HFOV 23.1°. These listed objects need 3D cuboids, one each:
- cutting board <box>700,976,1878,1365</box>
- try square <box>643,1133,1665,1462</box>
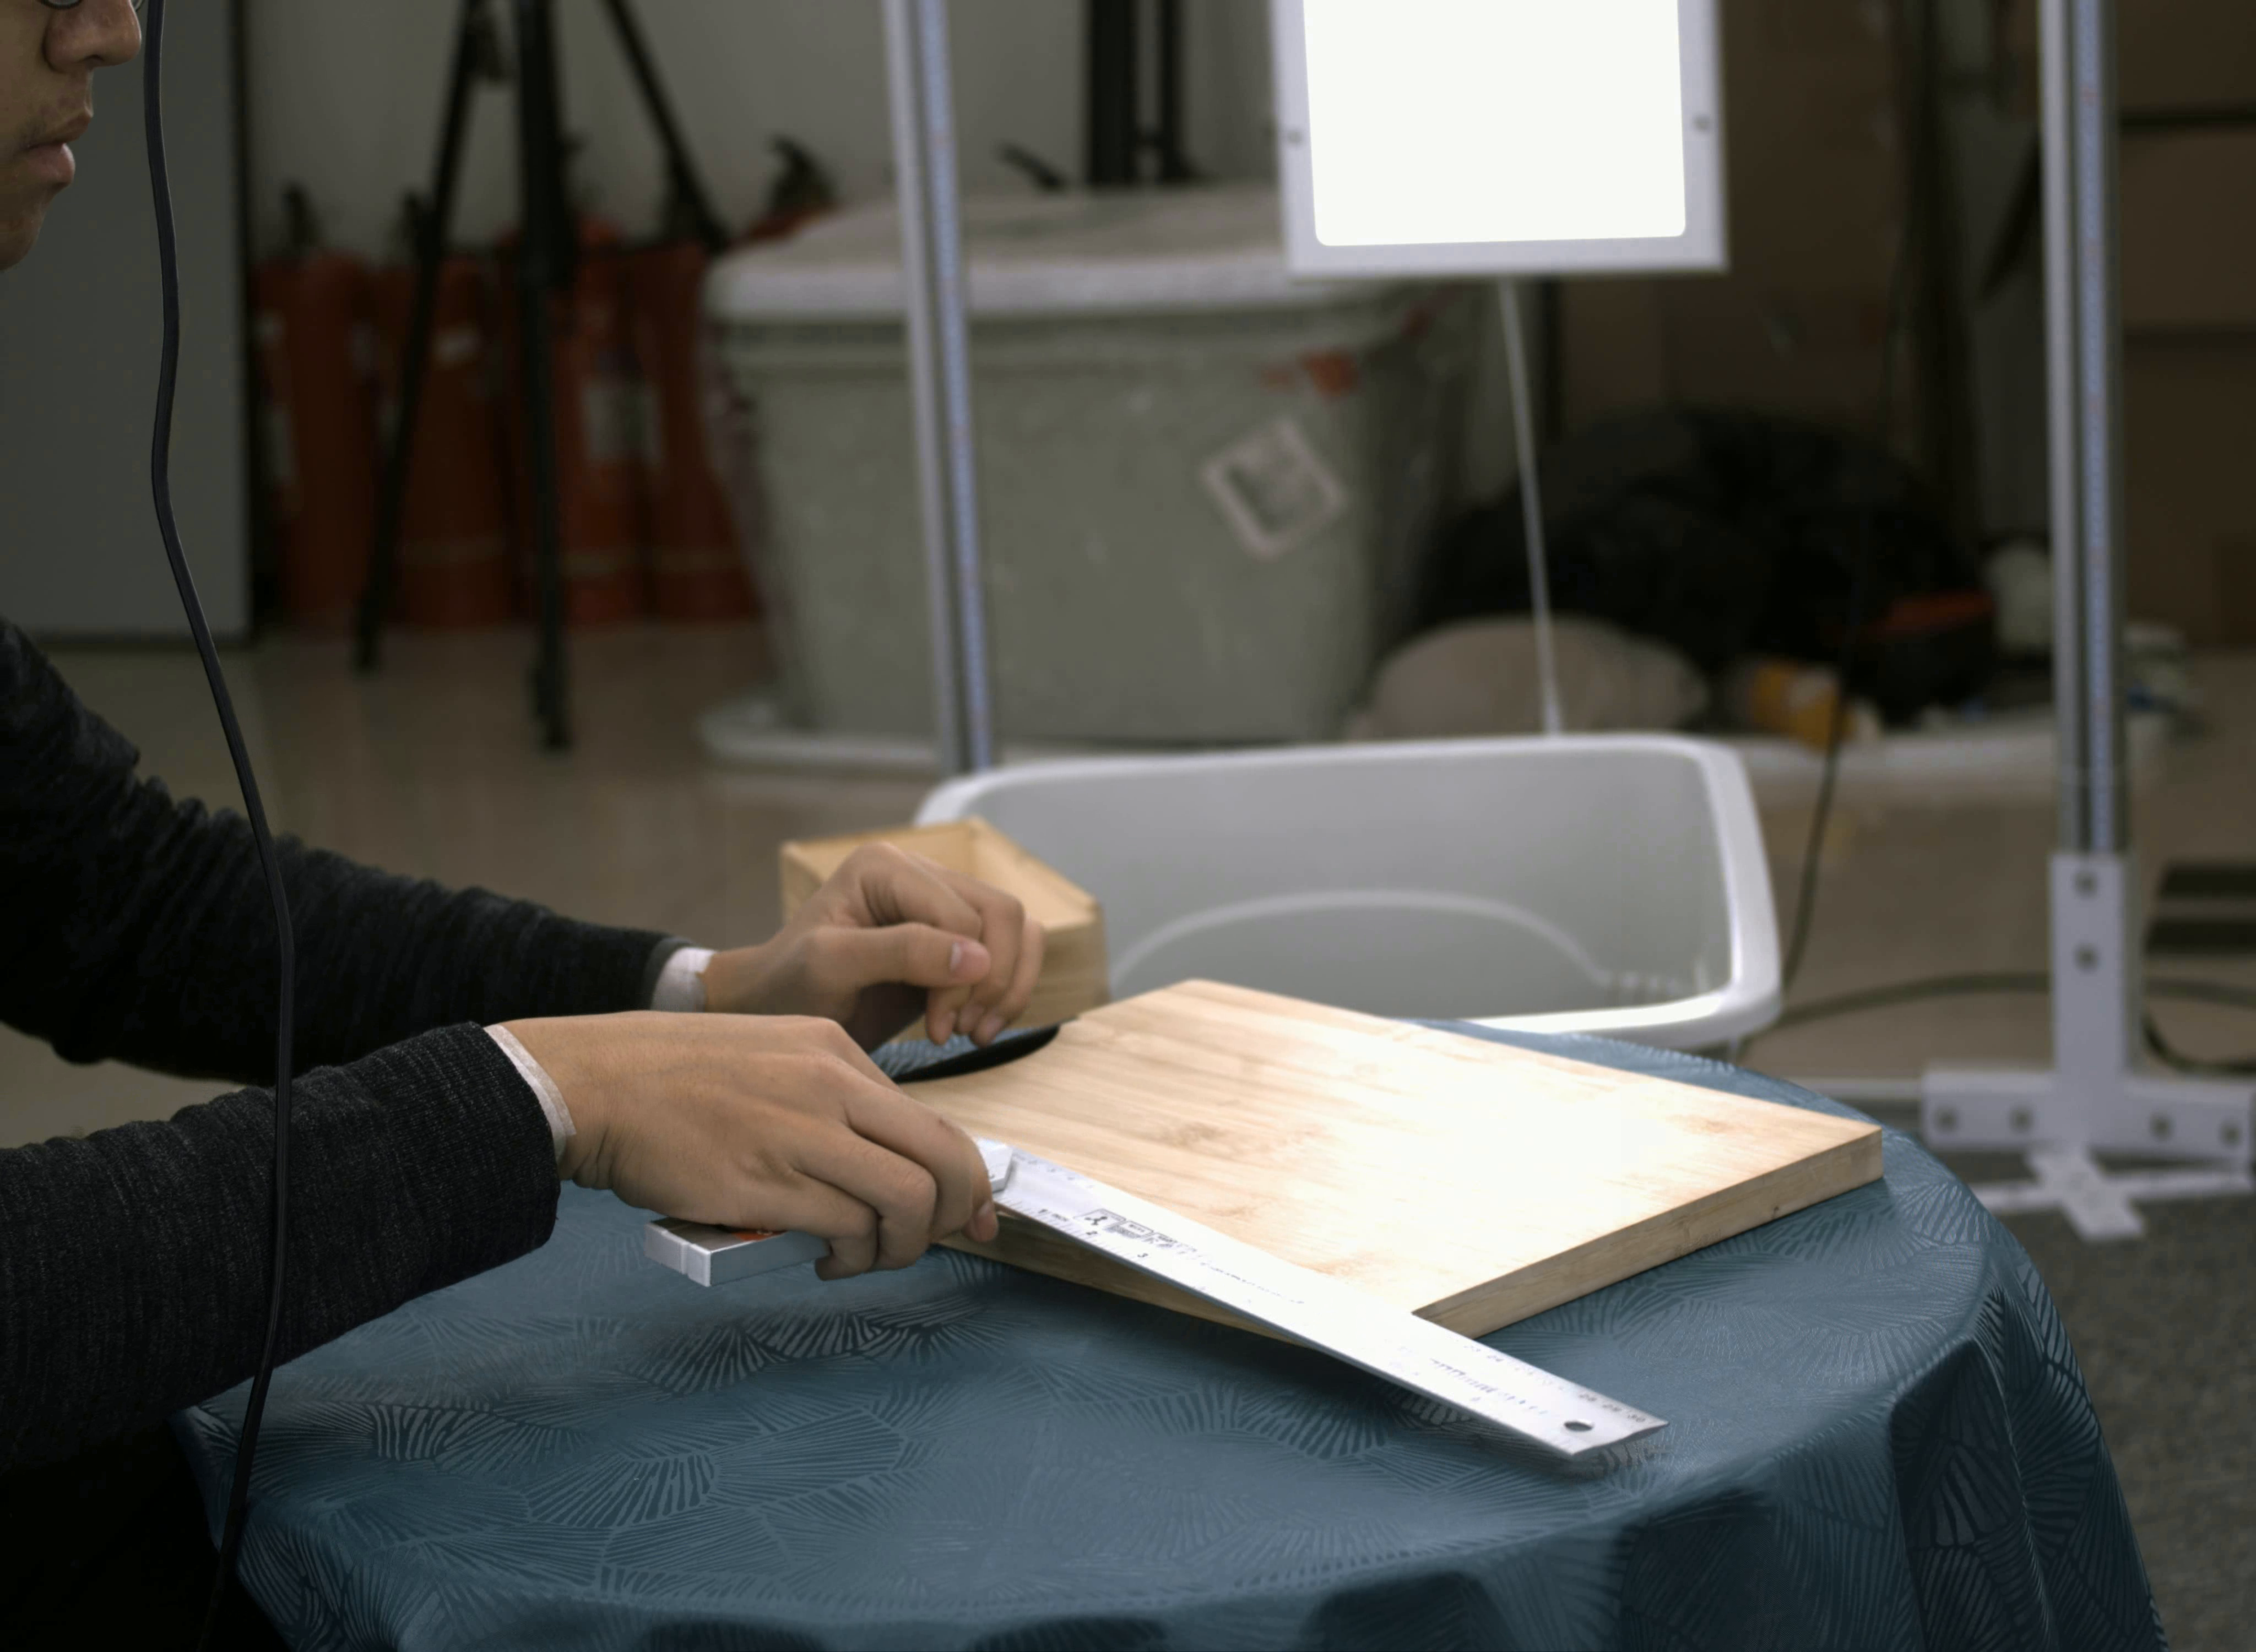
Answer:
[{"bbox_3d":[0.051,0.113,1.900,0.244,0.023,0.356,-16,18,-40],"label":"cutting board"},{"bbox_3d":[0.001,0.153,1.682,0.148,0.016,0.319,-12,20,-37],"label":"try square"}]
